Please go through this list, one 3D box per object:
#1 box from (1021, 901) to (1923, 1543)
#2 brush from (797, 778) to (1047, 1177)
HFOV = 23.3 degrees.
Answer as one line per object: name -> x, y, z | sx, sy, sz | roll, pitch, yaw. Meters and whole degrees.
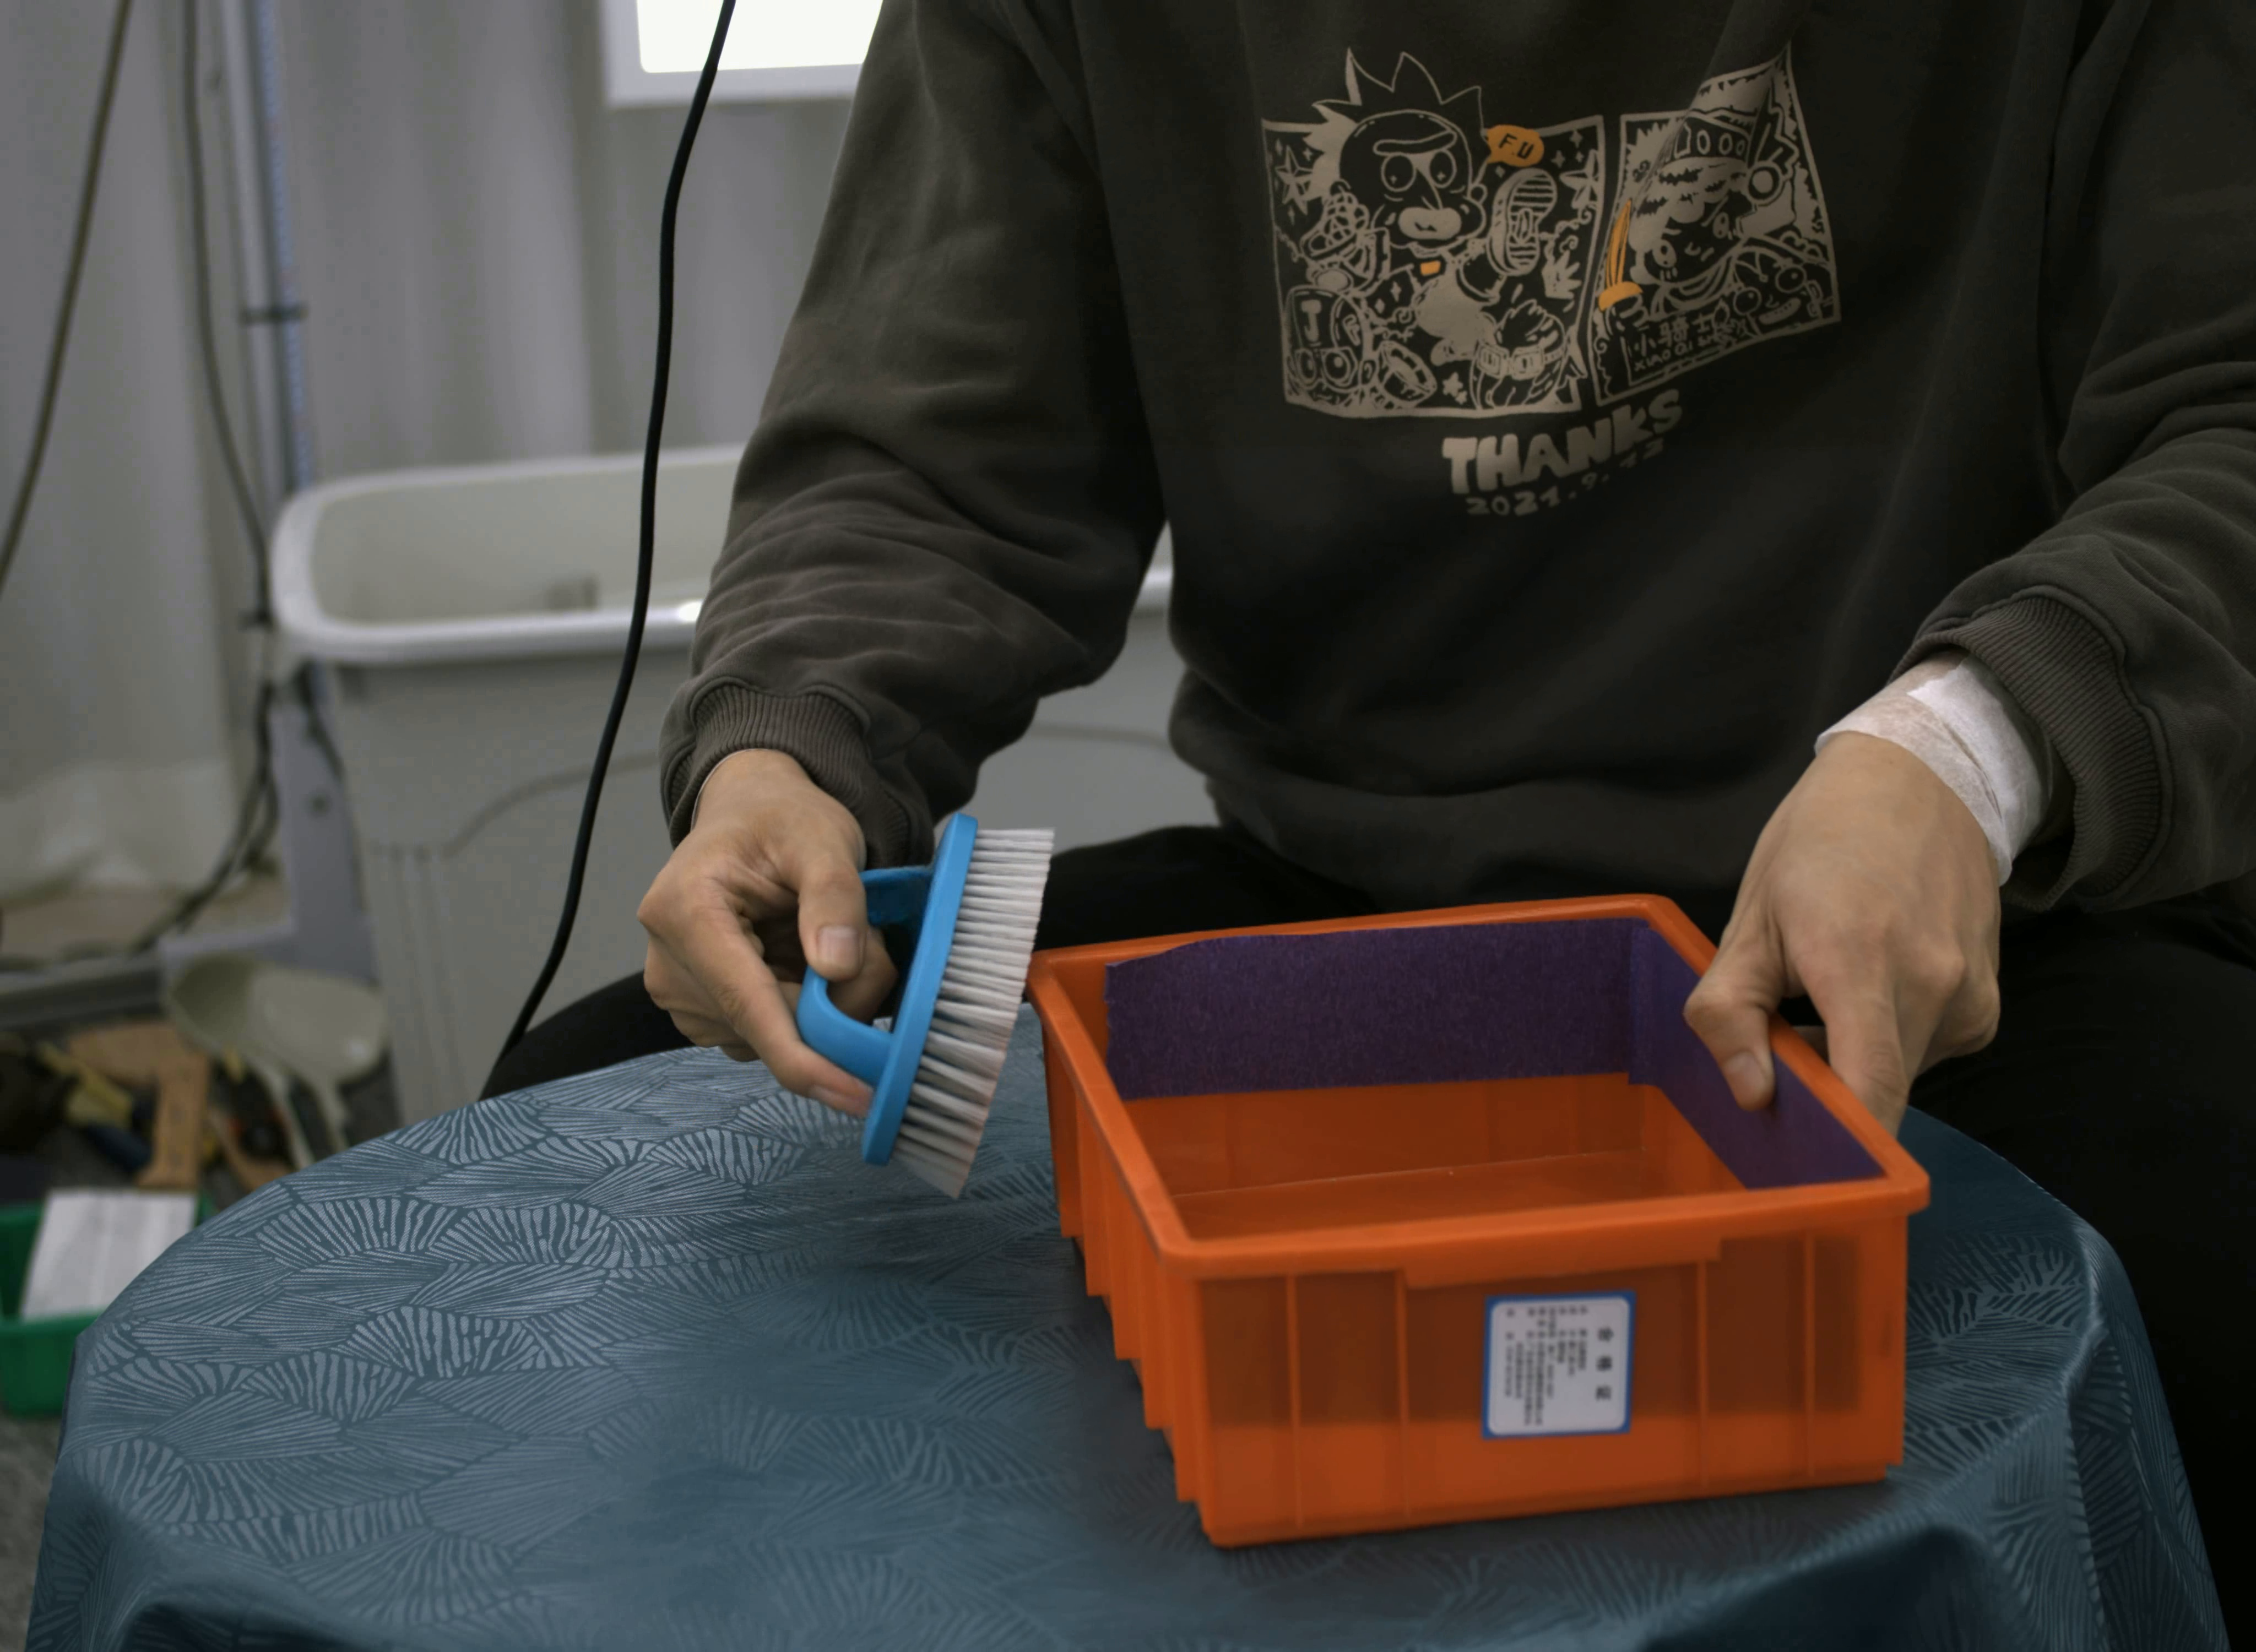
box -> 0.090, 0.108, 1.564 | 0.206, 0.096, 0.306 | -5, 15, -7
brush -> -0.066, 0.044, 1.675 | 0.063, 0.083, 0.143 | 12, 37, 0
